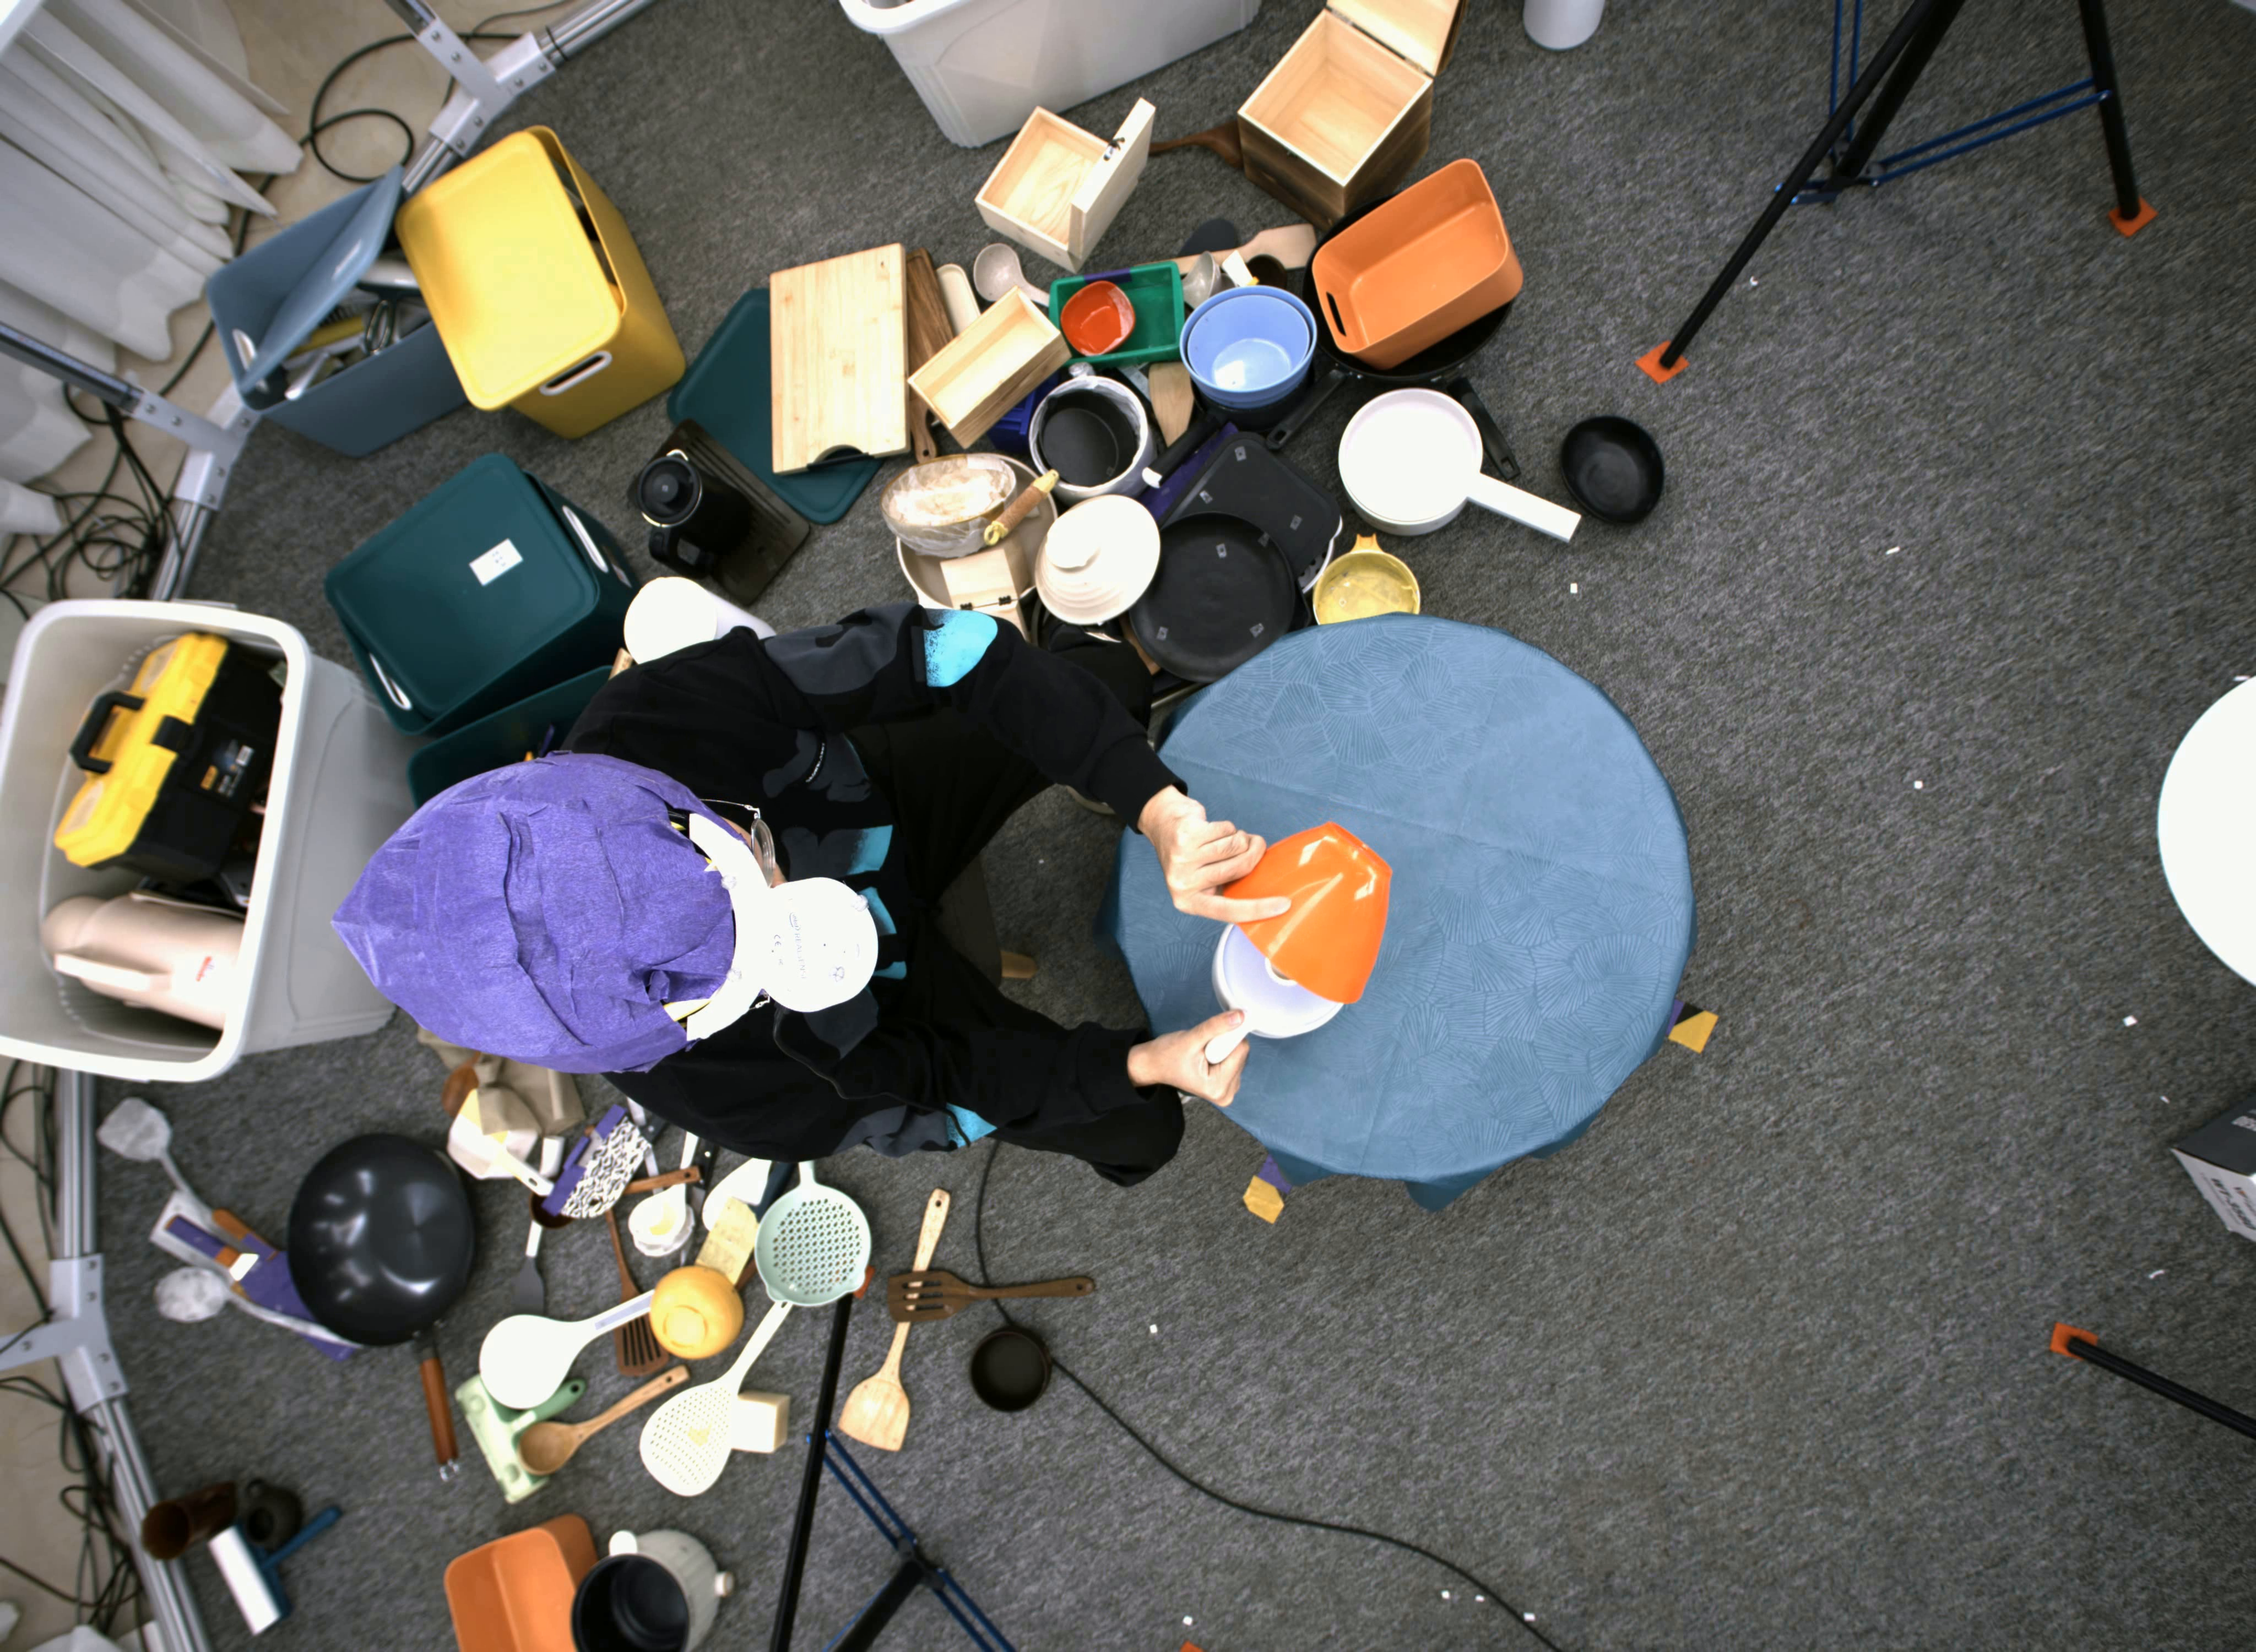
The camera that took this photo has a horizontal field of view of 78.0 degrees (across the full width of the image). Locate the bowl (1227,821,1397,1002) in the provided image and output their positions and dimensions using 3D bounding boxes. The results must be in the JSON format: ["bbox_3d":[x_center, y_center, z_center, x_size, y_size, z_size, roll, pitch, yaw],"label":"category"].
[{"bbox_3d":[0.163,0.058,1.126,0.147,0.147,0.106,40,102,11],"label":"bowl"}]

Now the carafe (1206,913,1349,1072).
[{"bbox_3d":[0.135,0.157,1.340,0.132,0.183,0.191,37,88,8],"label":"carafe"}]
